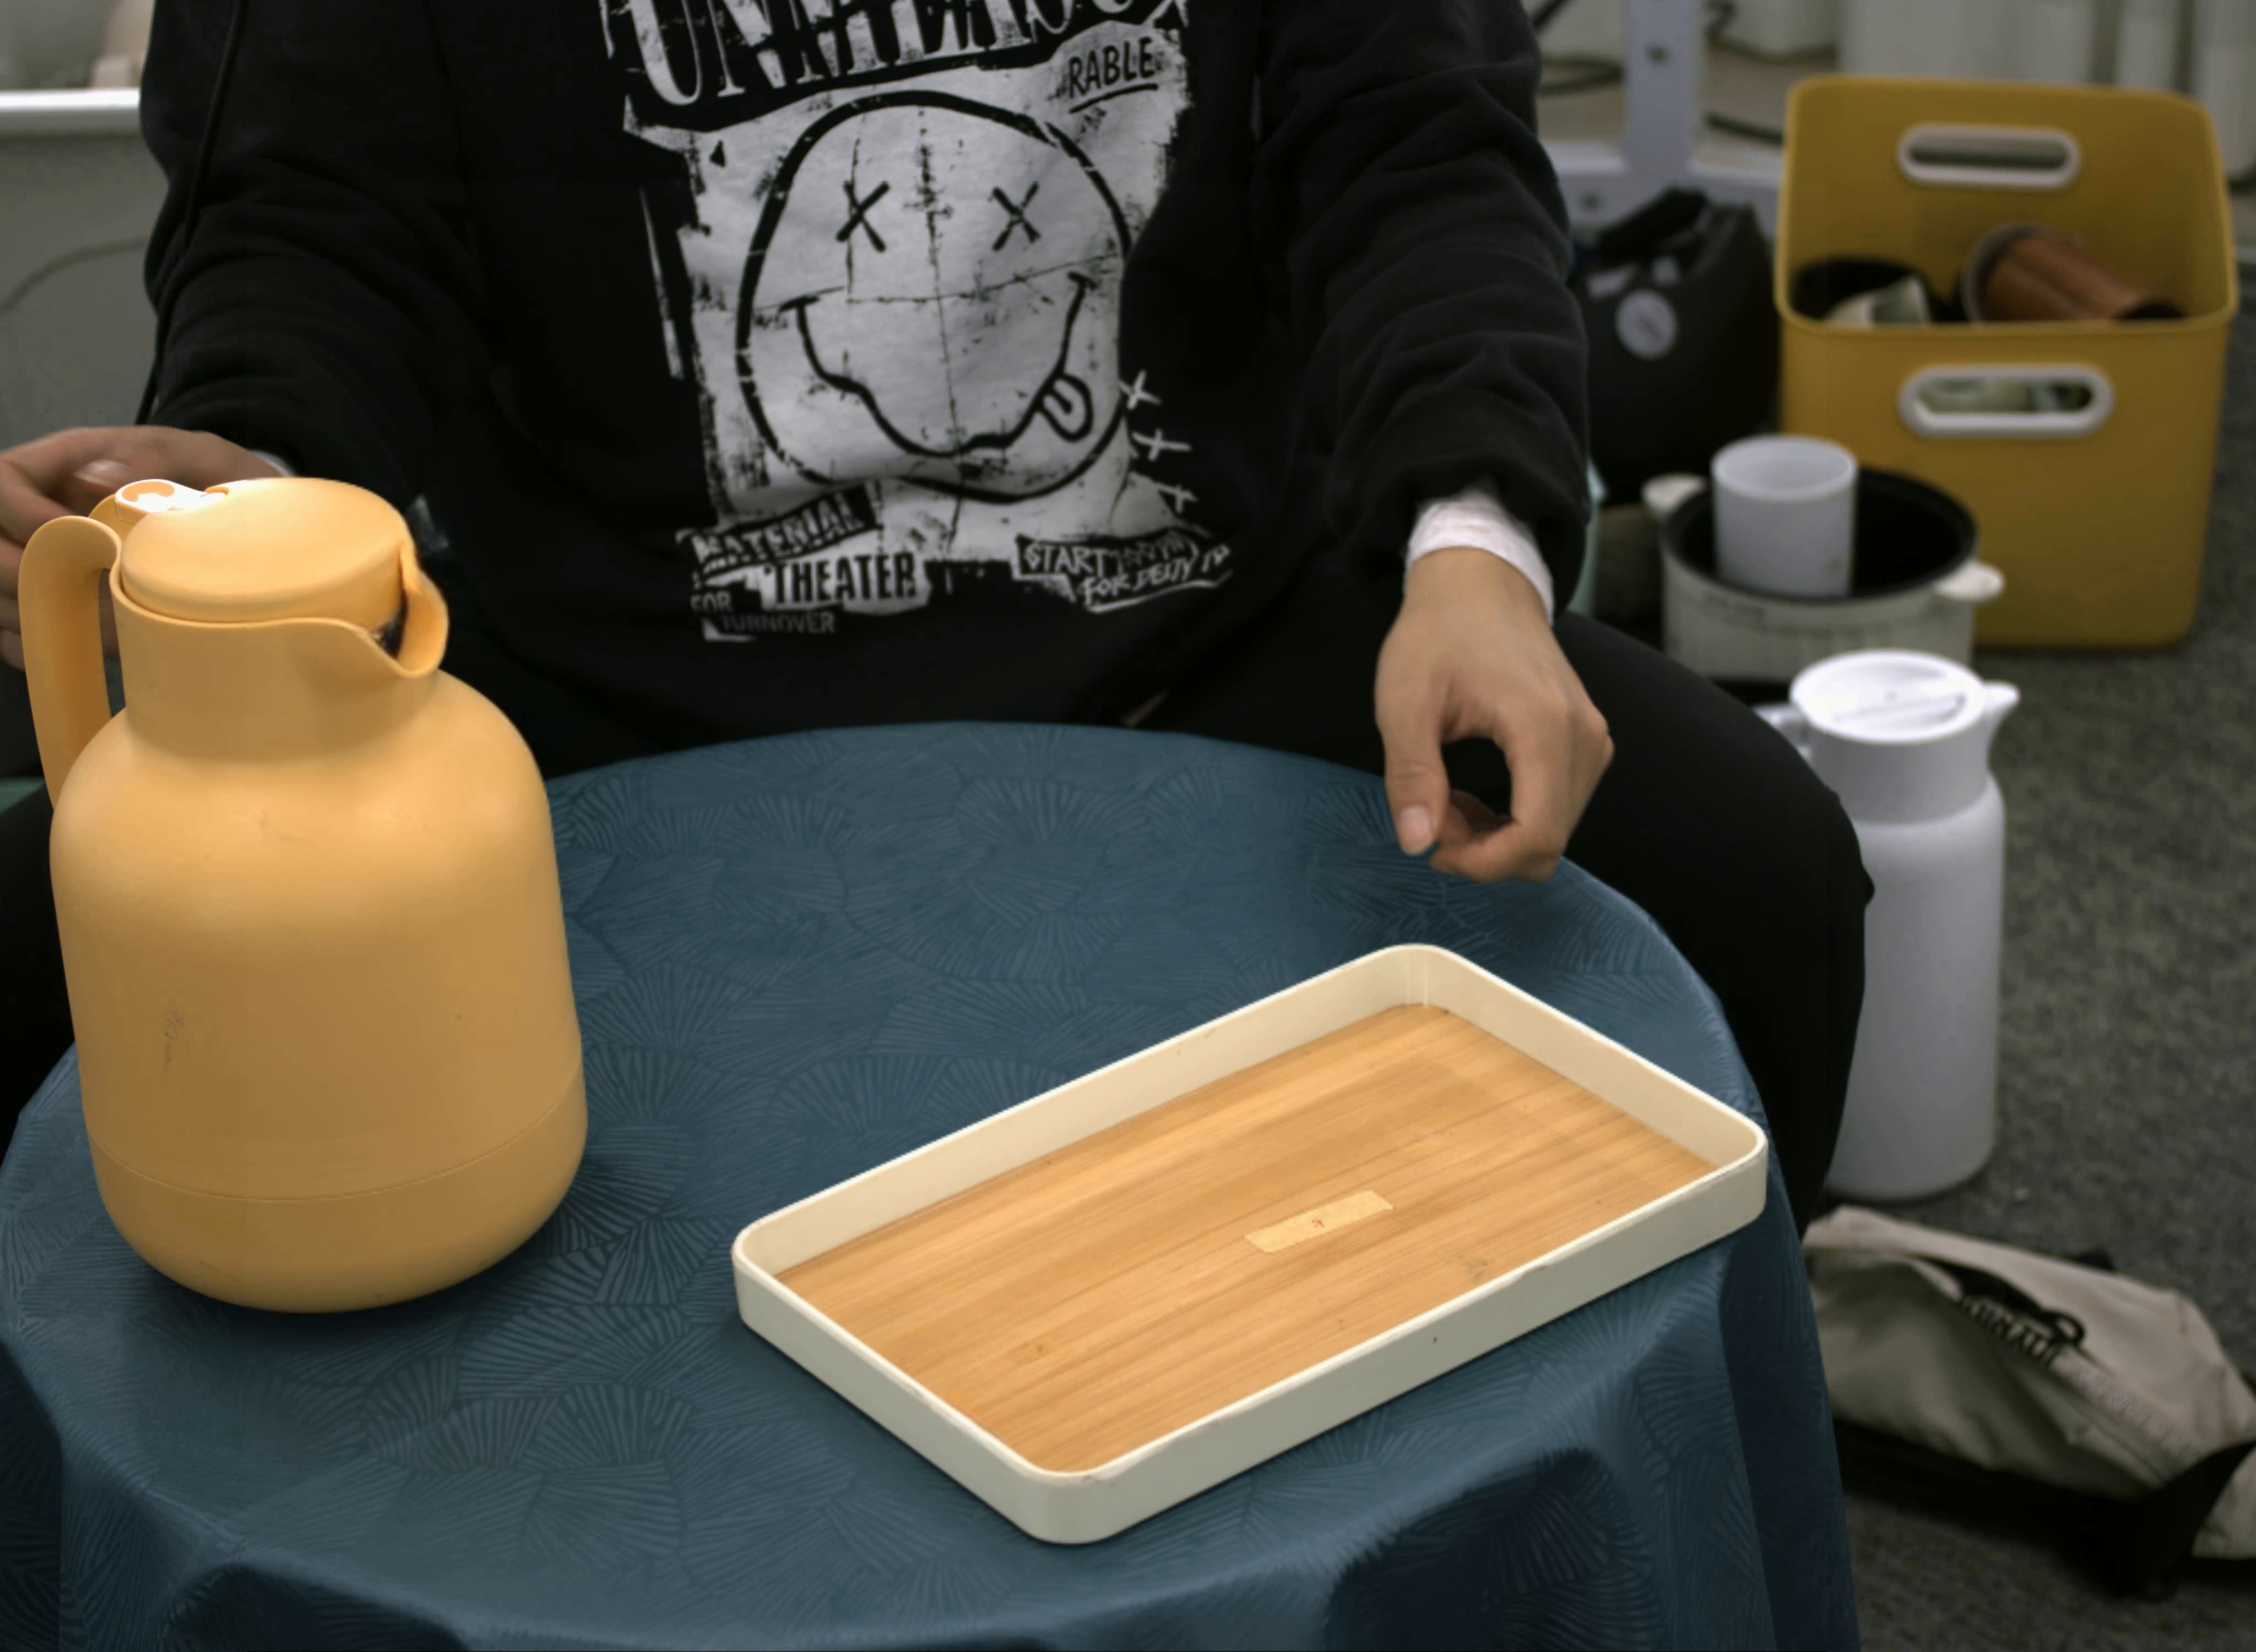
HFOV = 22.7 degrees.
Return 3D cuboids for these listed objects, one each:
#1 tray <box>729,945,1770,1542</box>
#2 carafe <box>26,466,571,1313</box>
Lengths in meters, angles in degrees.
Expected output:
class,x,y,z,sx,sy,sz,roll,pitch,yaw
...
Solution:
class,x,y,z,sx,sy,sz,roll,pitch,yaw
tray,0.040,0.129,1.812,0.303,0.027,0.192,-21,33,-32
carafe,-0.279,0.010,1.821,0.202,0.258,0.165,23,34,39
